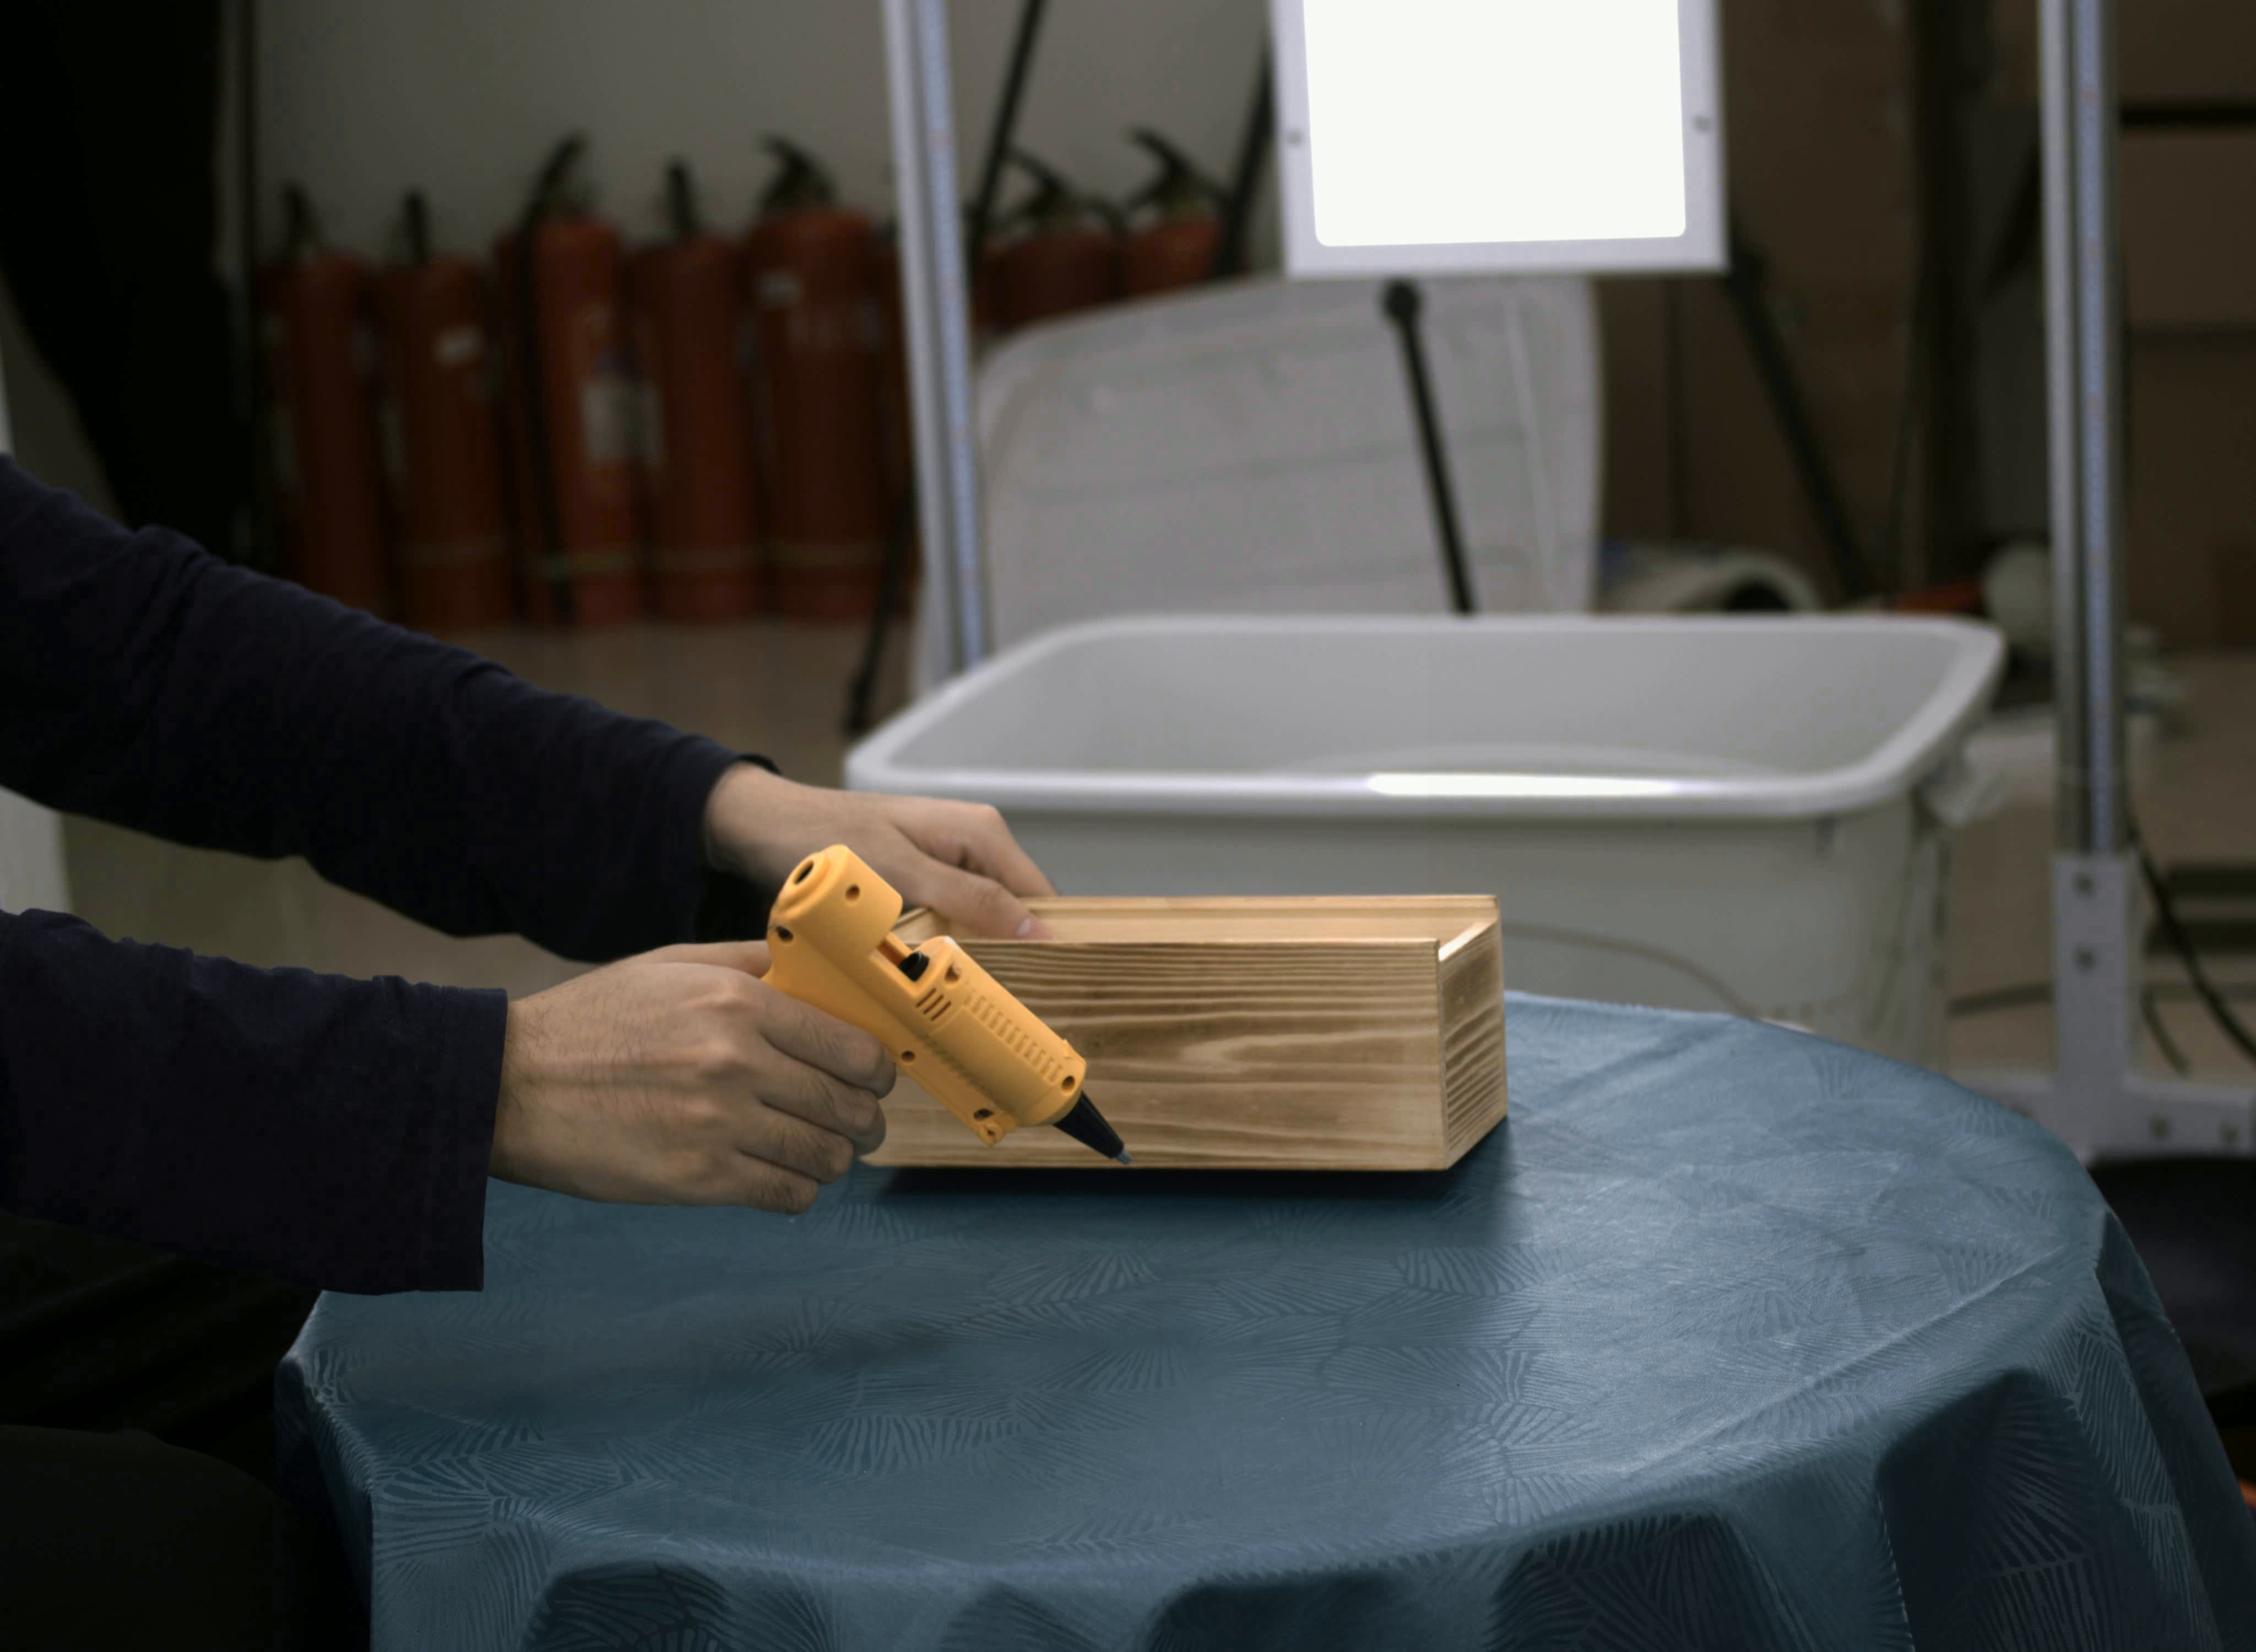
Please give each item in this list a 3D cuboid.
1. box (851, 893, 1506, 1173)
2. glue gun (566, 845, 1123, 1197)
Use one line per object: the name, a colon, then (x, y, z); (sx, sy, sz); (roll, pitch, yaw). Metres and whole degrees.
box: (0.018, 0.071, 1.928); (0.214, 0.080, 0.106); (0, 8, 18)
glue gun: (-0.083, 0.093, 1.778); (0.135, 0.149, 0.031); (-46, 20, 19)
